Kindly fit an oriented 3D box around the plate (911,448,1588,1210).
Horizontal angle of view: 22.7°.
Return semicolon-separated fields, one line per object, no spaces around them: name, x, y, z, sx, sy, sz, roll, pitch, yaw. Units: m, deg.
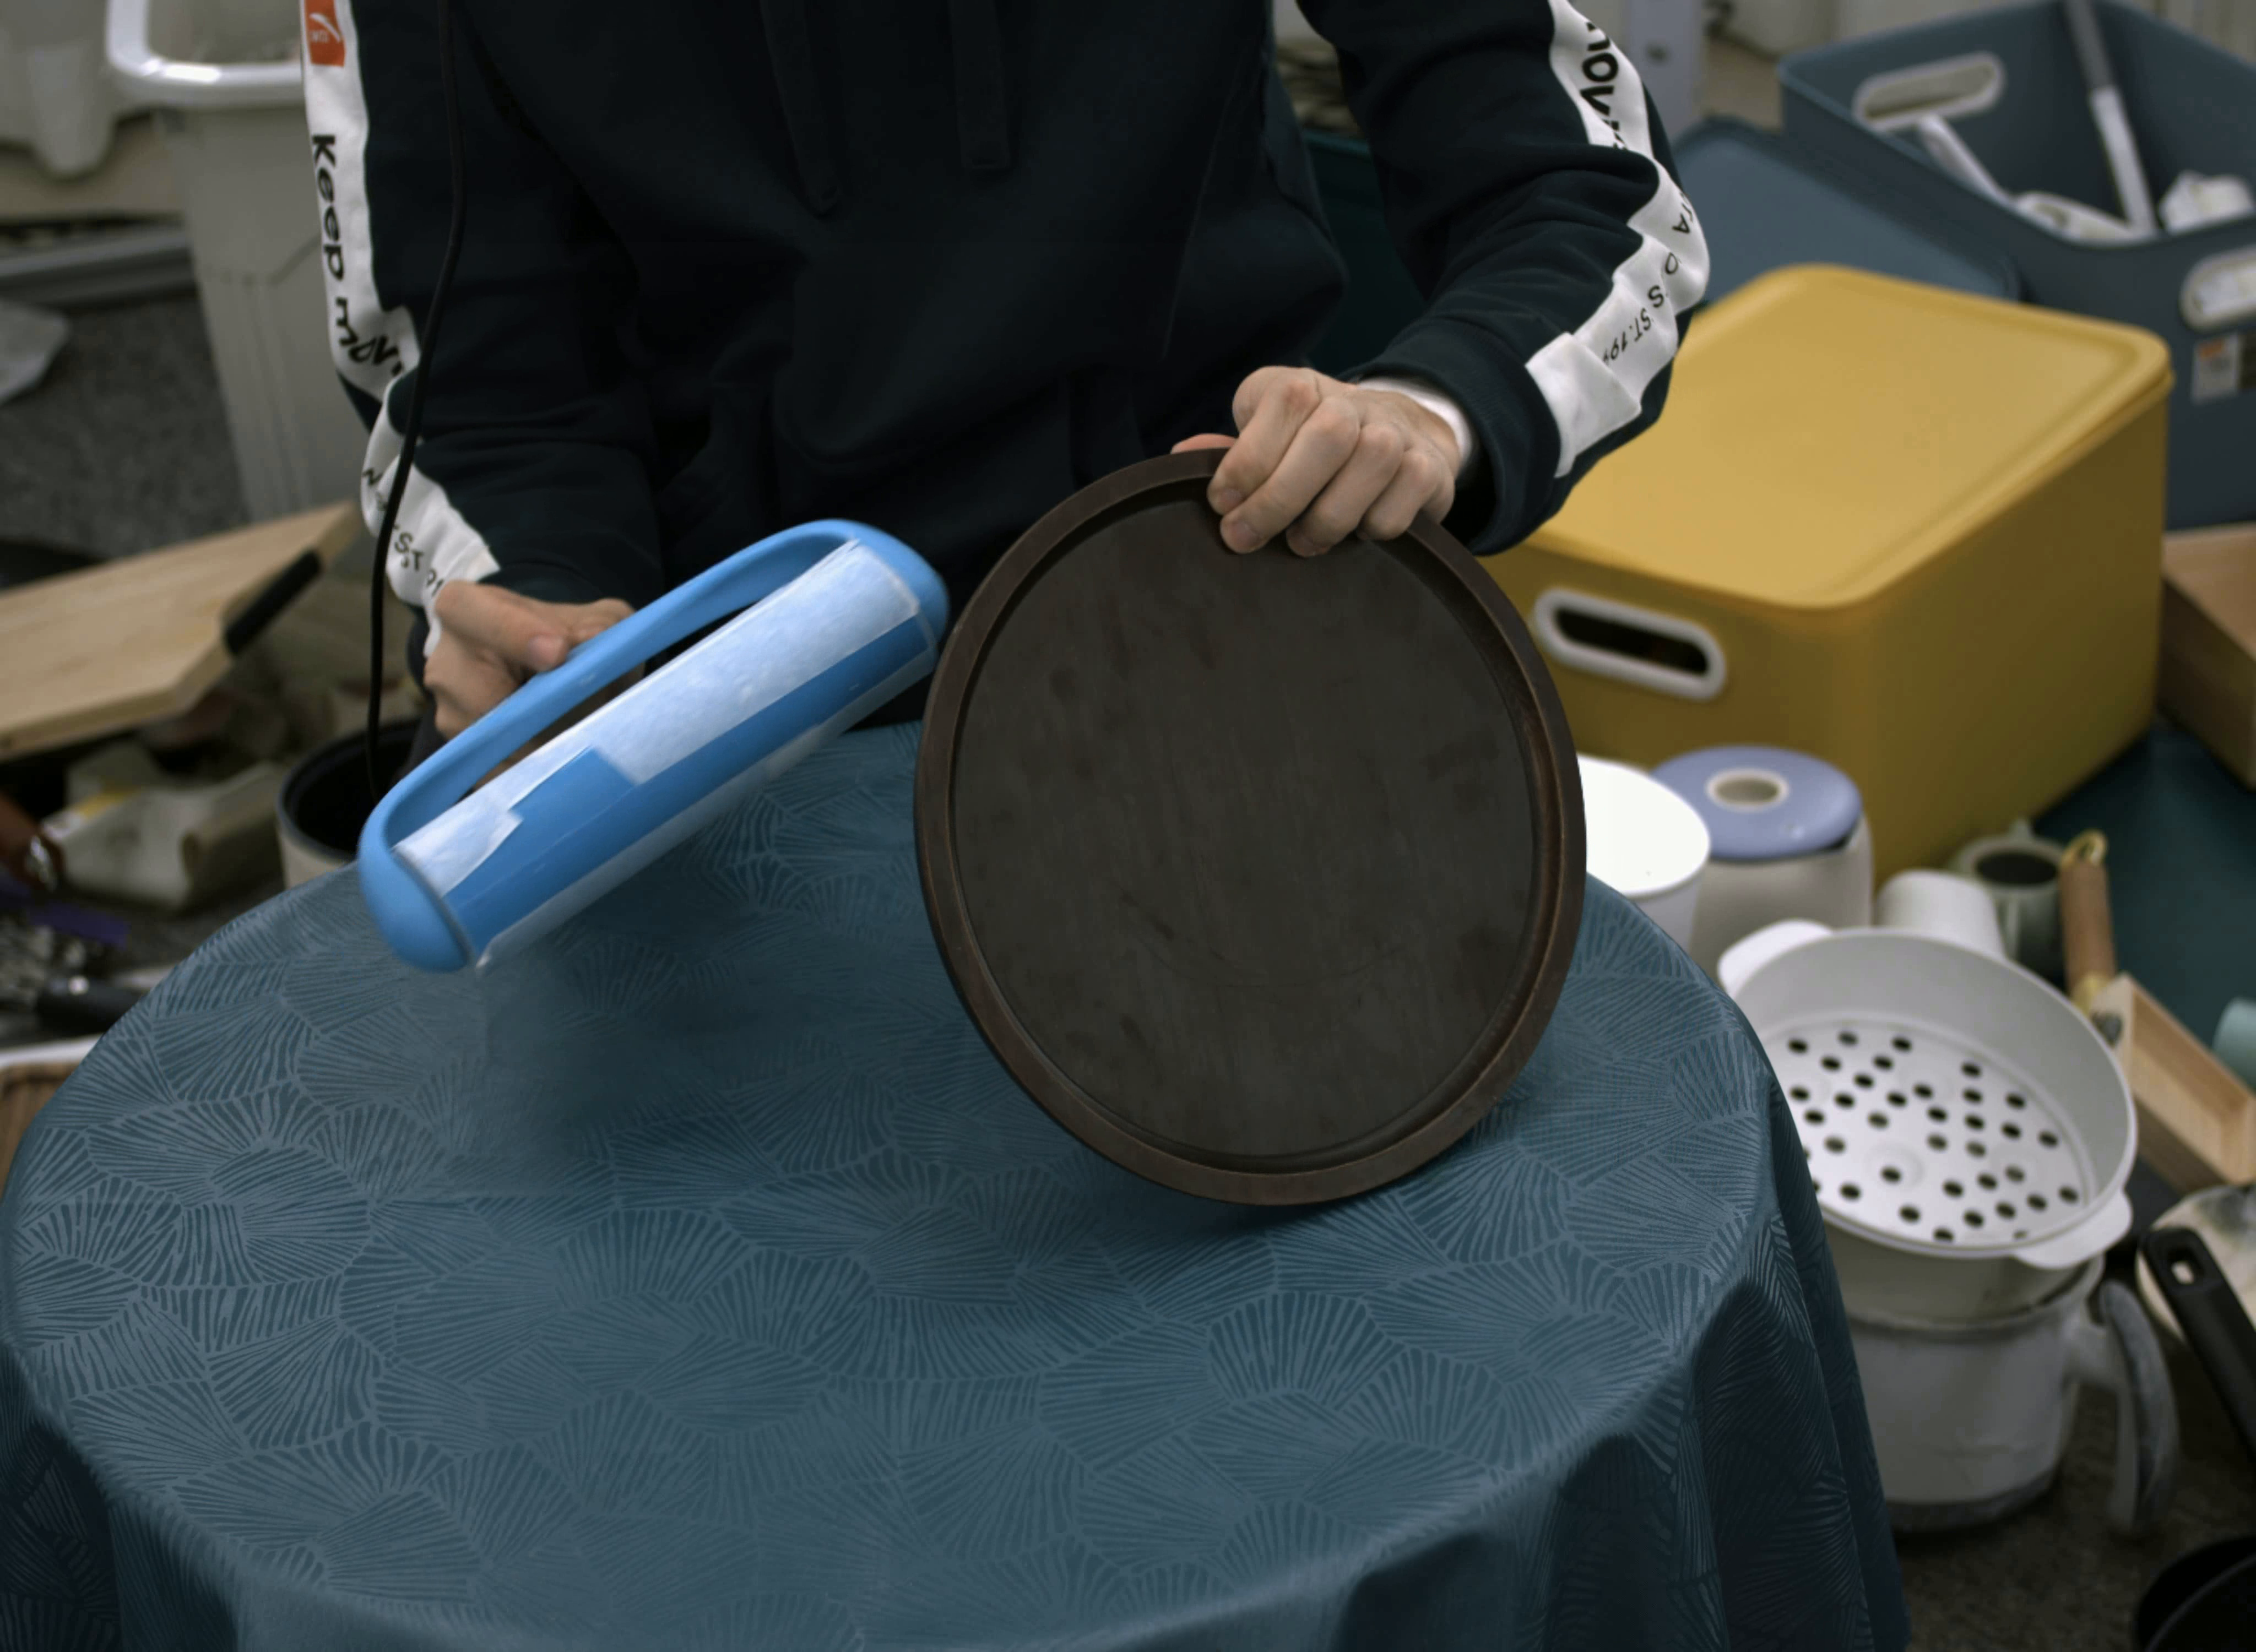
plate;0.041;0.001;1.857;0.257;0.255;0.029;-20;2;-31

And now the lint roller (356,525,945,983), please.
lint roller;-0.183;-0.028;1.959;0.231;0.067;0.179;-37;20;-19
